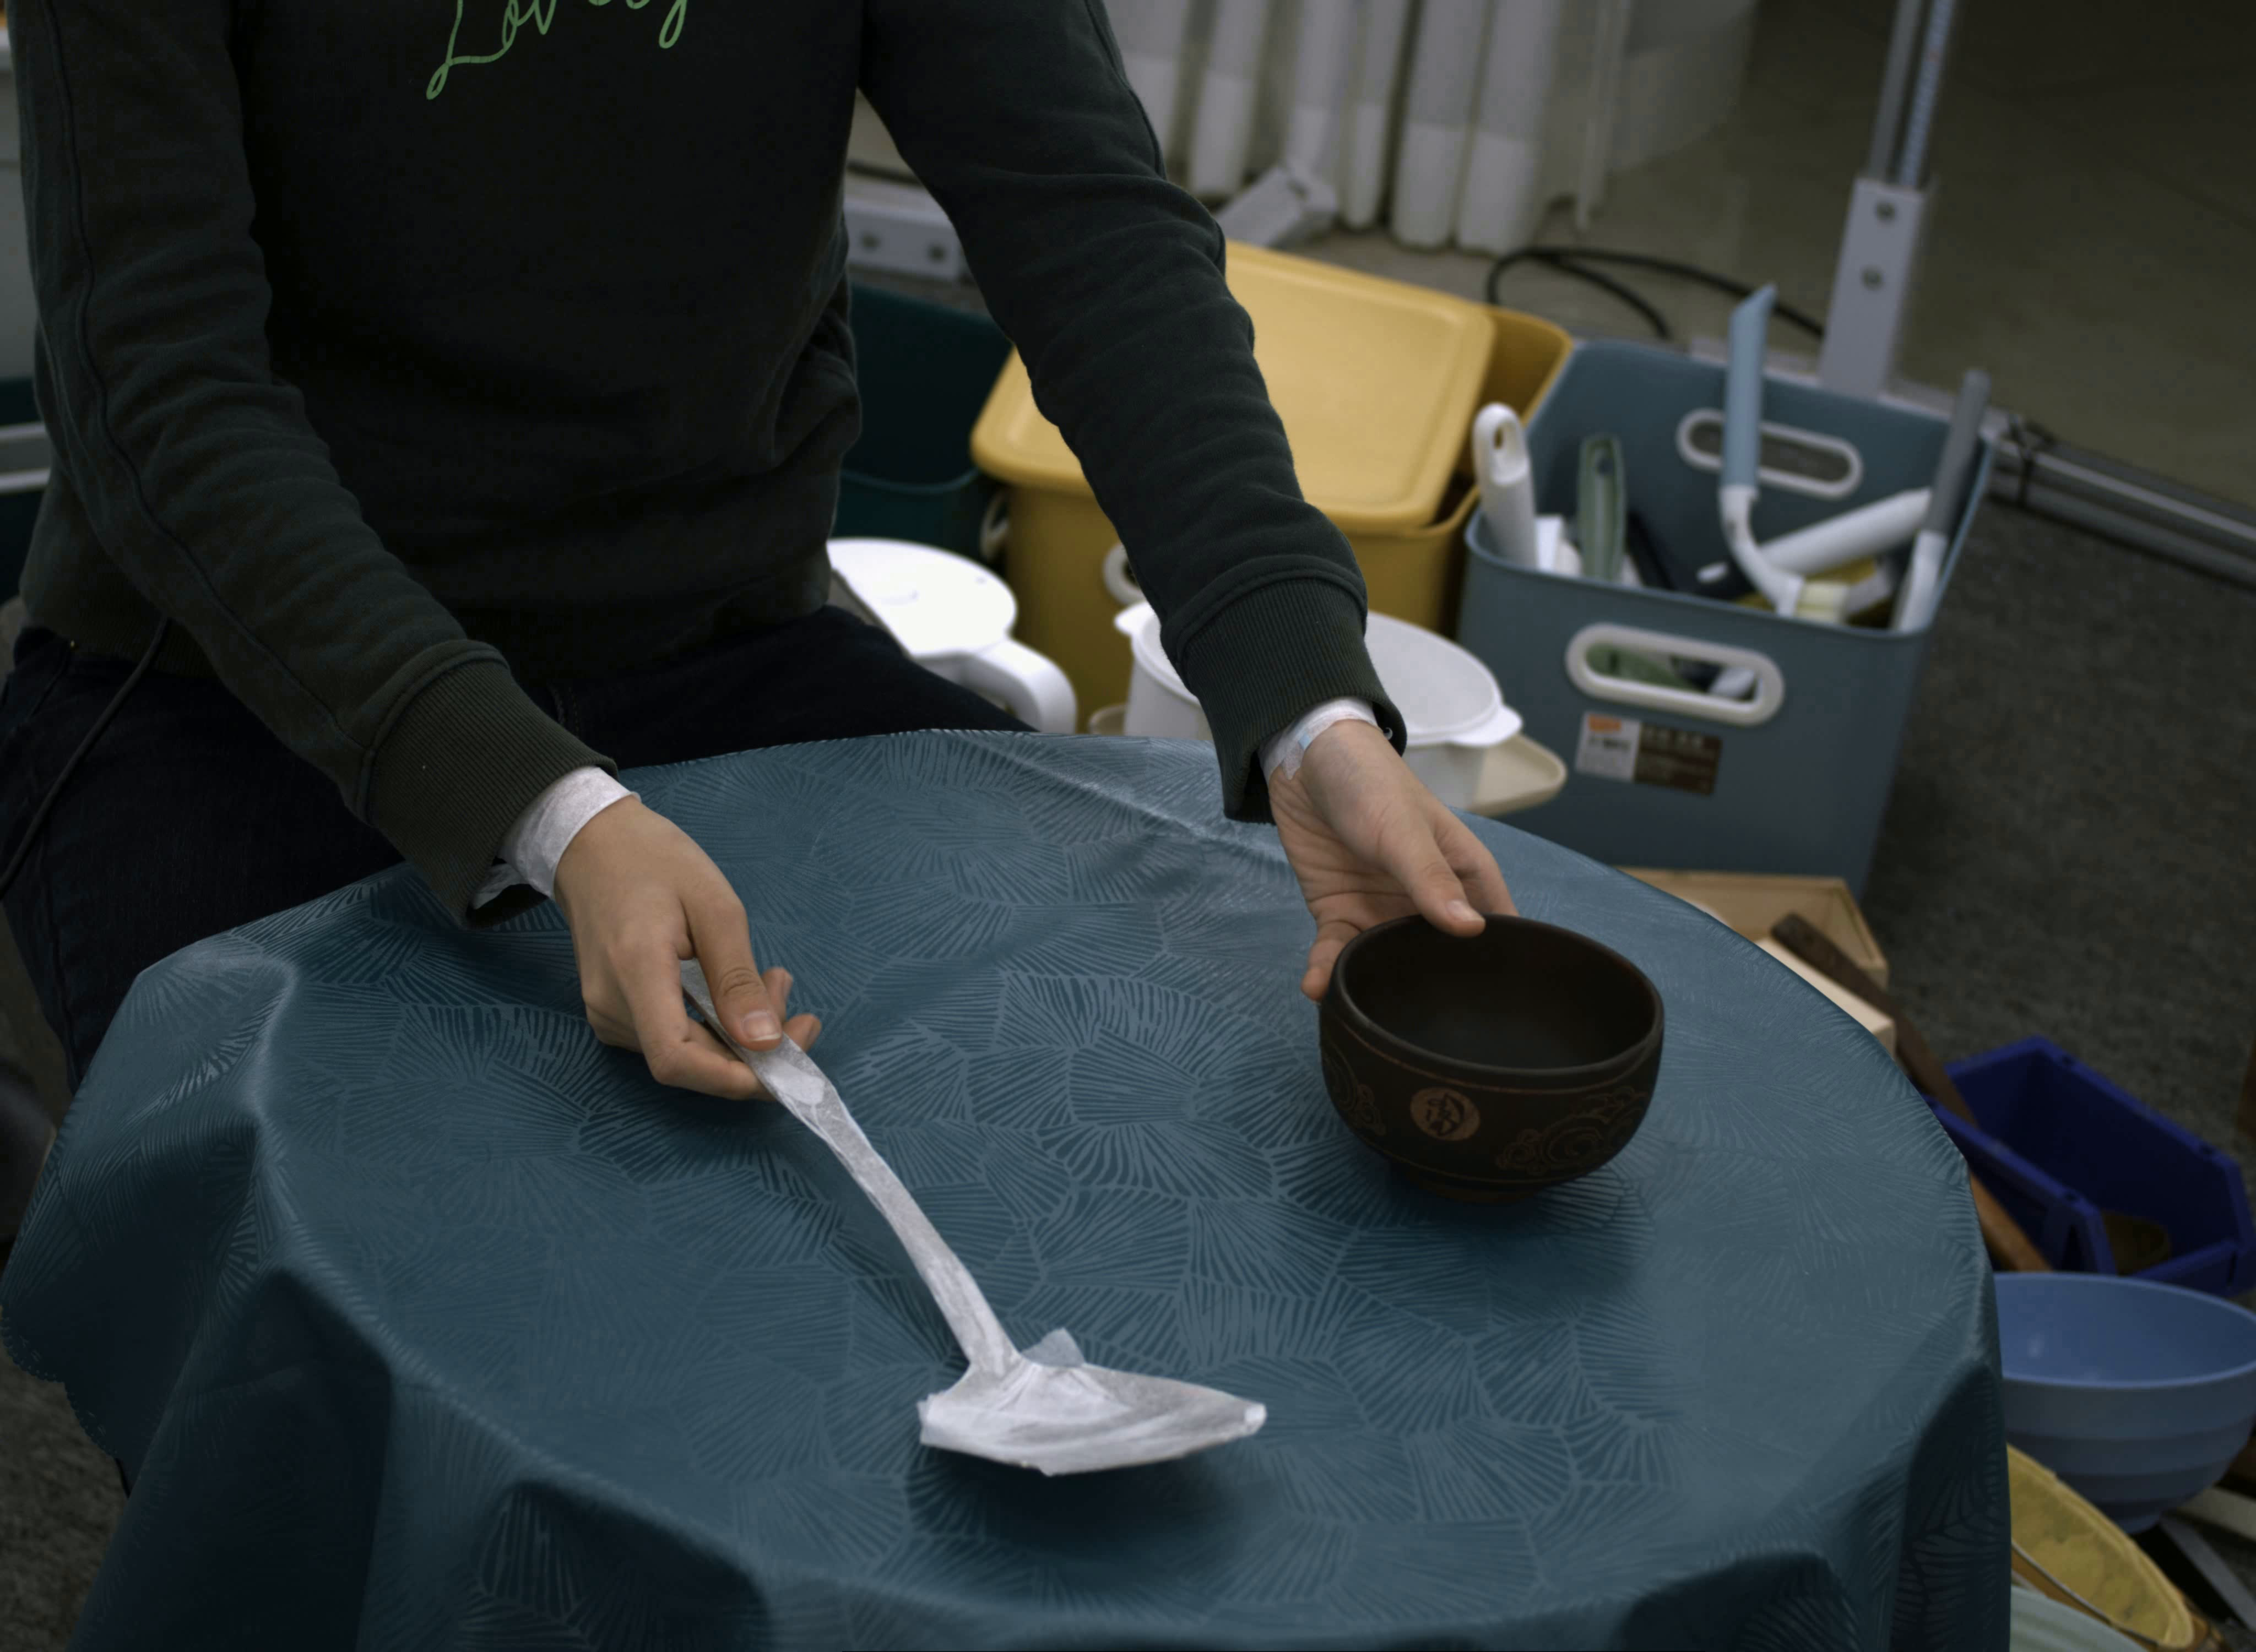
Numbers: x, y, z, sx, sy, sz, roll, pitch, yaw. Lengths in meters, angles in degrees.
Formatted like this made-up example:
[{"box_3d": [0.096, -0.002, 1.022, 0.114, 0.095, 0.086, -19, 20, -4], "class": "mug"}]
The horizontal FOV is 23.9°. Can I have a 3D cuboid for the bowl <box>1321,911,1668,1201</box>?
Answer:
[{"box_3d": [0.123, 0.085, 1.825, 0.117, 0.069, 0.118, 6, 24, -3], "class": "bowl"}]

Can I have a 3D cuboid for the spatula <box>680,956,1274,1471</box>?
[{"box_3d": [-0.074, 0.118, 1.741, 0.098, 0.044, 0.368, -8, 33, -27], "class": "spatula"}]
